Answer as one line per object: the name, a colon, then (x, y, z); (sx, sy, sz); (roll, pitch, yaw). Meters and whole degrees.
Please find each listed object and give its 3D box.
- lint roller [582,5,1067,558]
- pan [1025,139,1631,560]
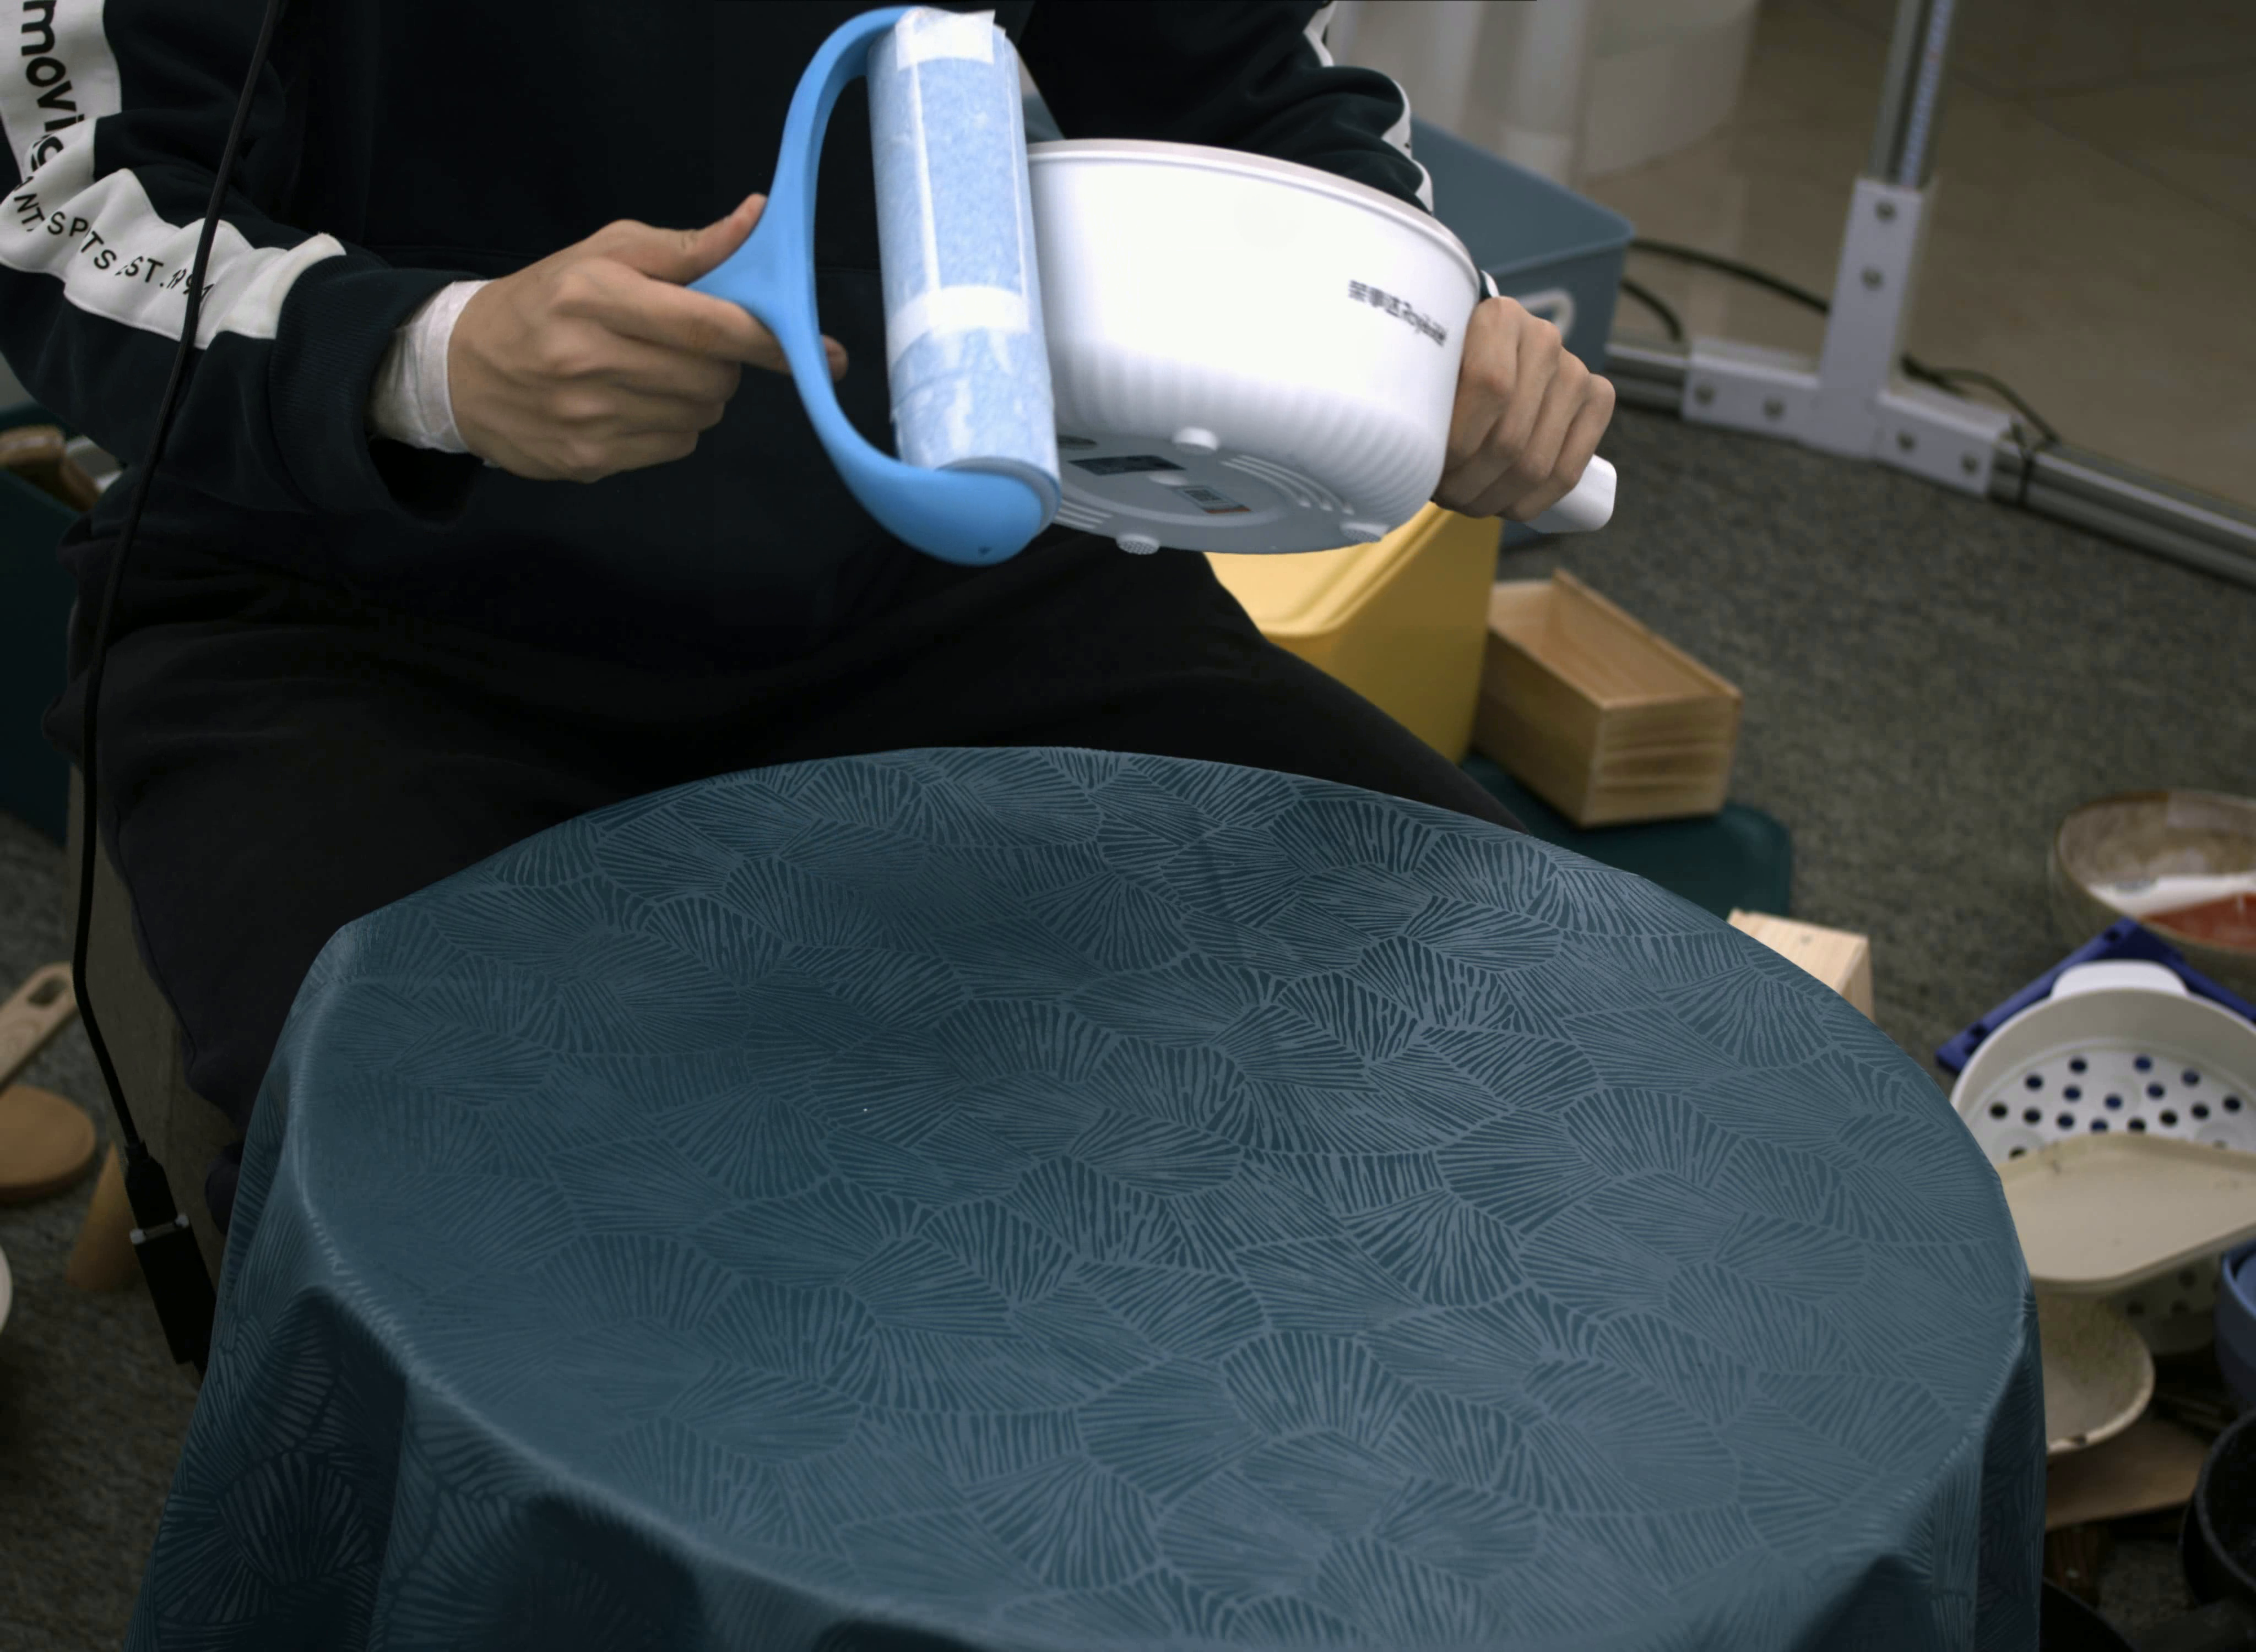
lint roller: (-0.112, -0.169, 1.803); (0.180, 0.067, 0.231); (-17, 55, 11)
pan: (0.068, -0.142, 1.967); (0.202, 0.102, 0.351); (-1, -17, 39)
